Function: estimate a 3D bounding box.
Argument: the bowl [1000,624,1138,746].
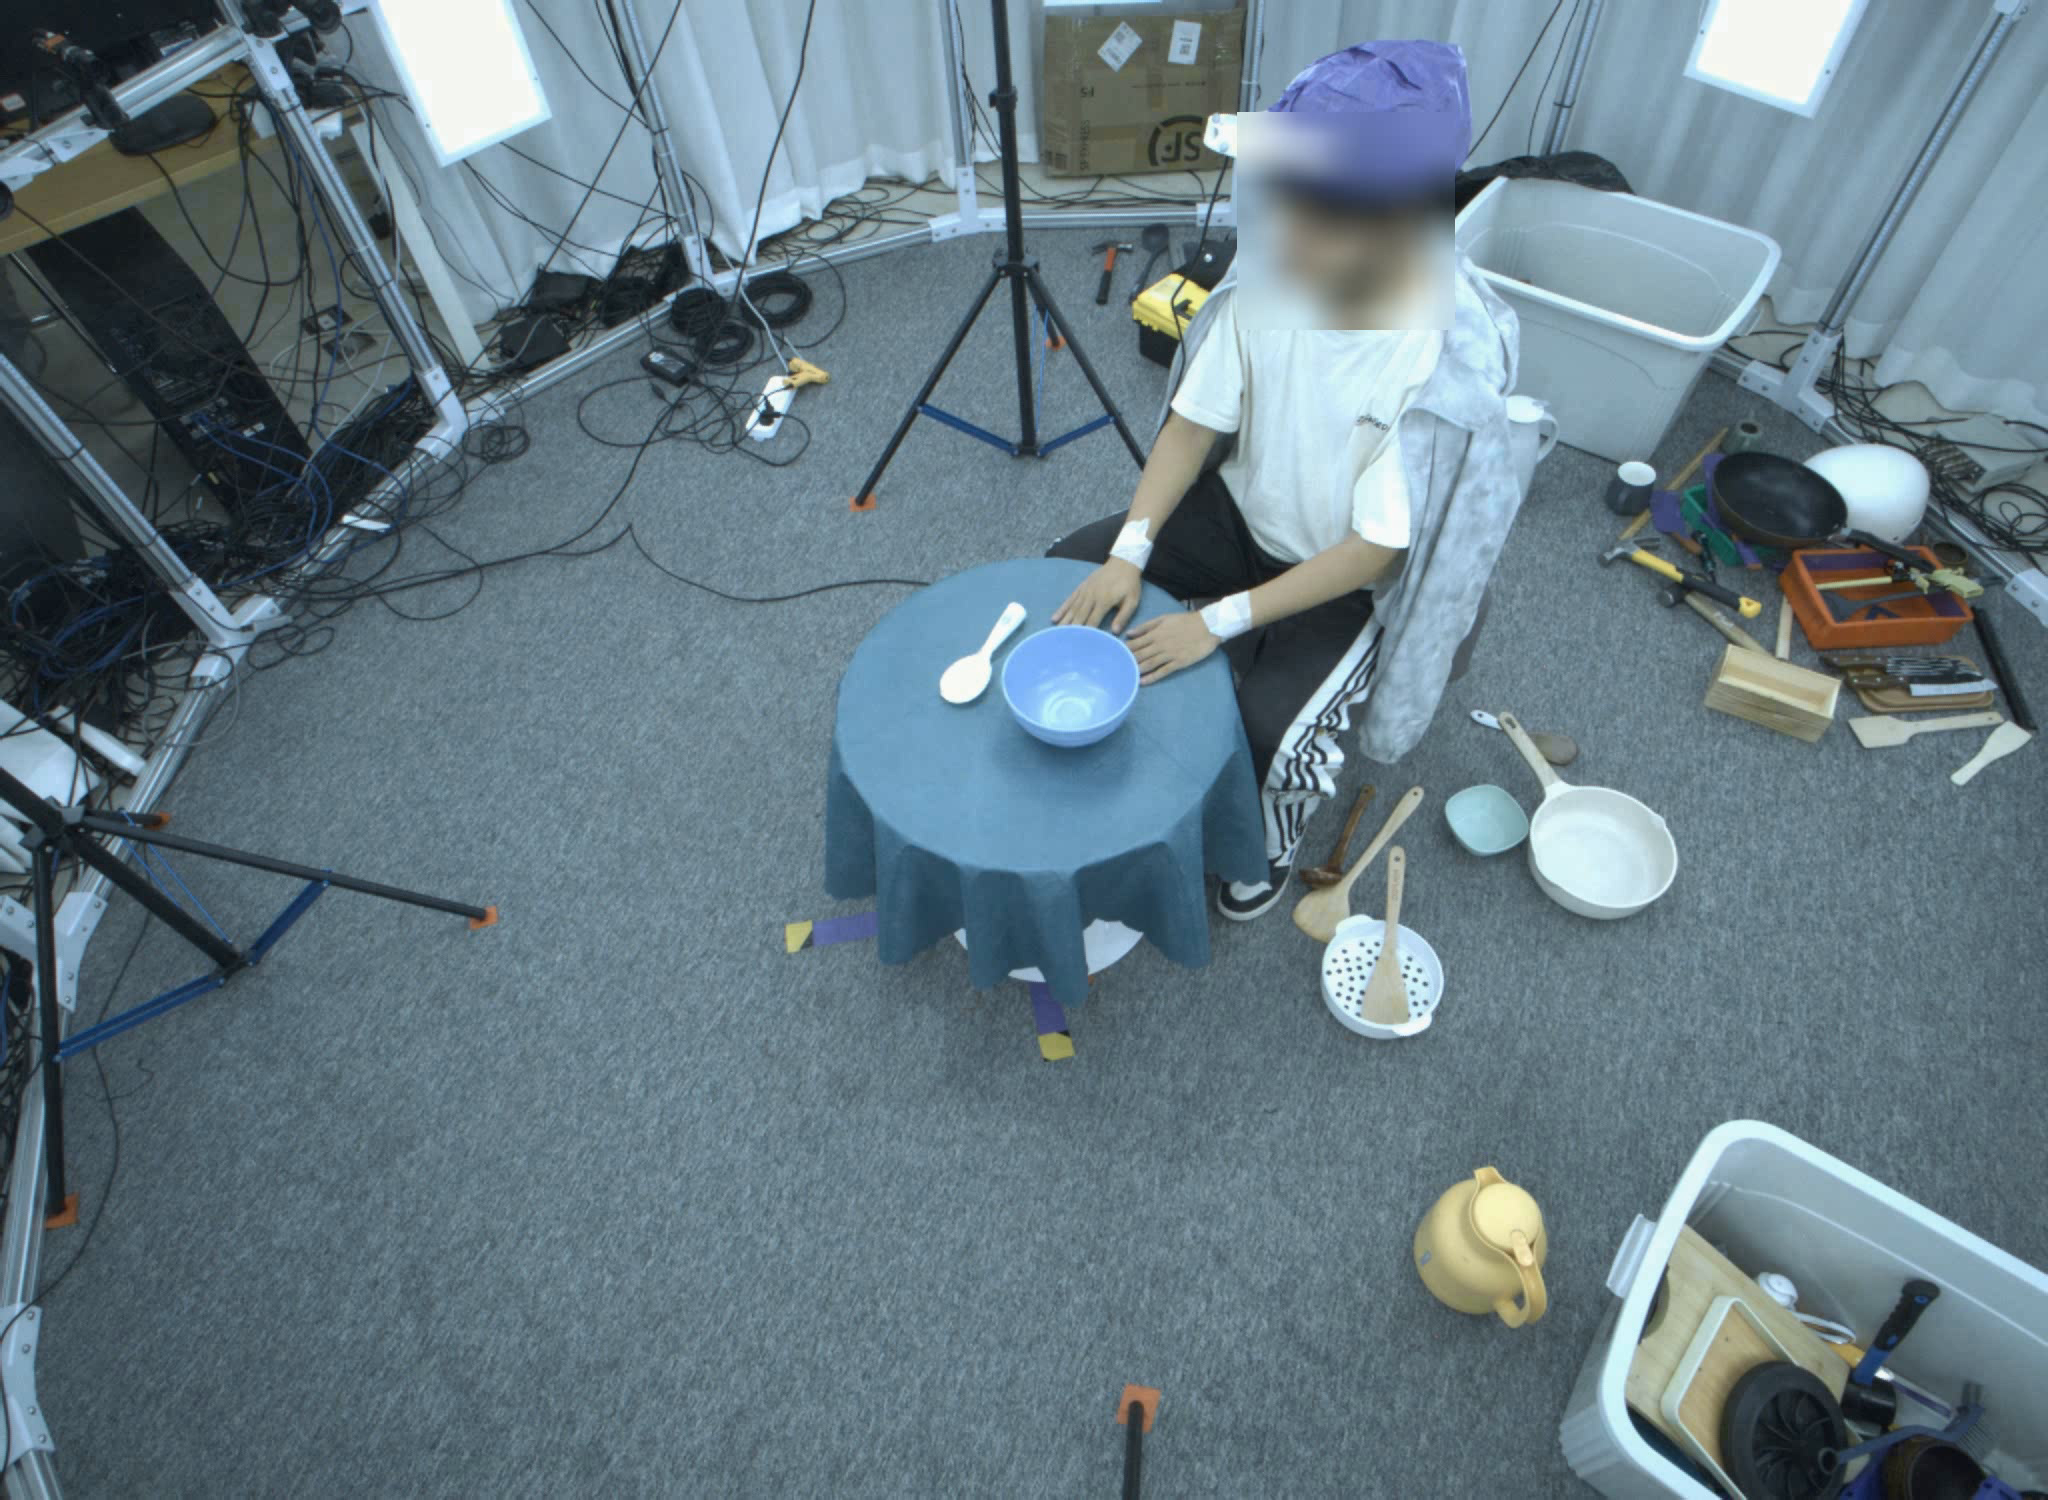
[{"bbox_3d":[0.068,-0.079,1.783,0.196,0.096,0.194,-2,56,4],"label":"bowl"}]

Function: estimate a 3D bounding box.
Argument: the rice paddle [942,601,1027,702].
[{"bbox_3d":[-0.059,-0.149,1.878,0.068,0.030,0.206,22,58,19],"label":"rice paddle"}]
